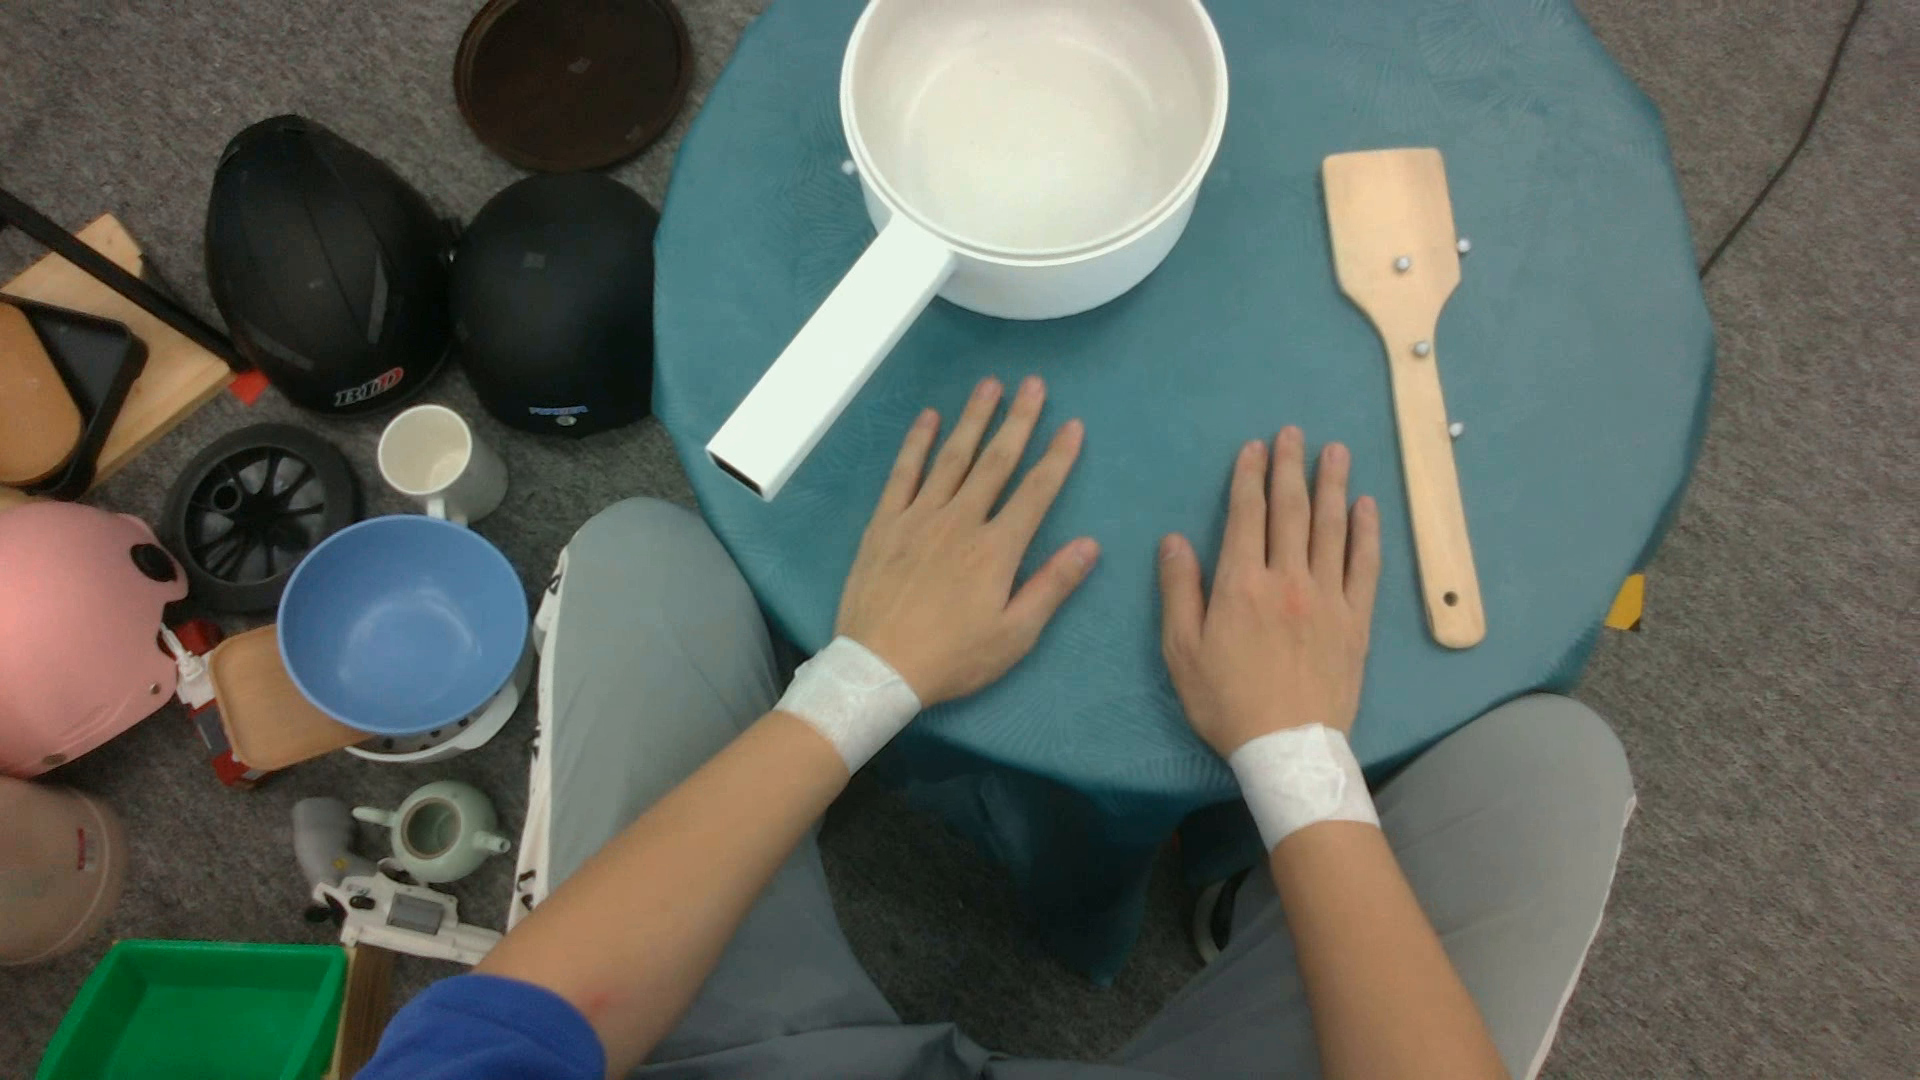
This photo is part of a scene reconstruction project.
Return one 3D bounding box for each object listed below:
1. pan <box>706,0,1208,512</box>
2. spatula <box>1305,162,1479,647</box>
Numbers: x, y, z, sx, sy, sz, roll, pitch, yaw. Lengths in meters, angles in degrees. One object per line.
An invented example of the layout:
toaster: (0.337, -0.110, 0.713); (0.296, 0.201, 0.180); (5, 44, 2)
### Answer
pan: (-0.010, -0.157, 0.761); (0.201, 0.102, 0.355); (33, 77, 9)
spatula: (0.252, -0.083, 0.776); (0.072, 0.010, 0.293); (-5, 73, -1)
